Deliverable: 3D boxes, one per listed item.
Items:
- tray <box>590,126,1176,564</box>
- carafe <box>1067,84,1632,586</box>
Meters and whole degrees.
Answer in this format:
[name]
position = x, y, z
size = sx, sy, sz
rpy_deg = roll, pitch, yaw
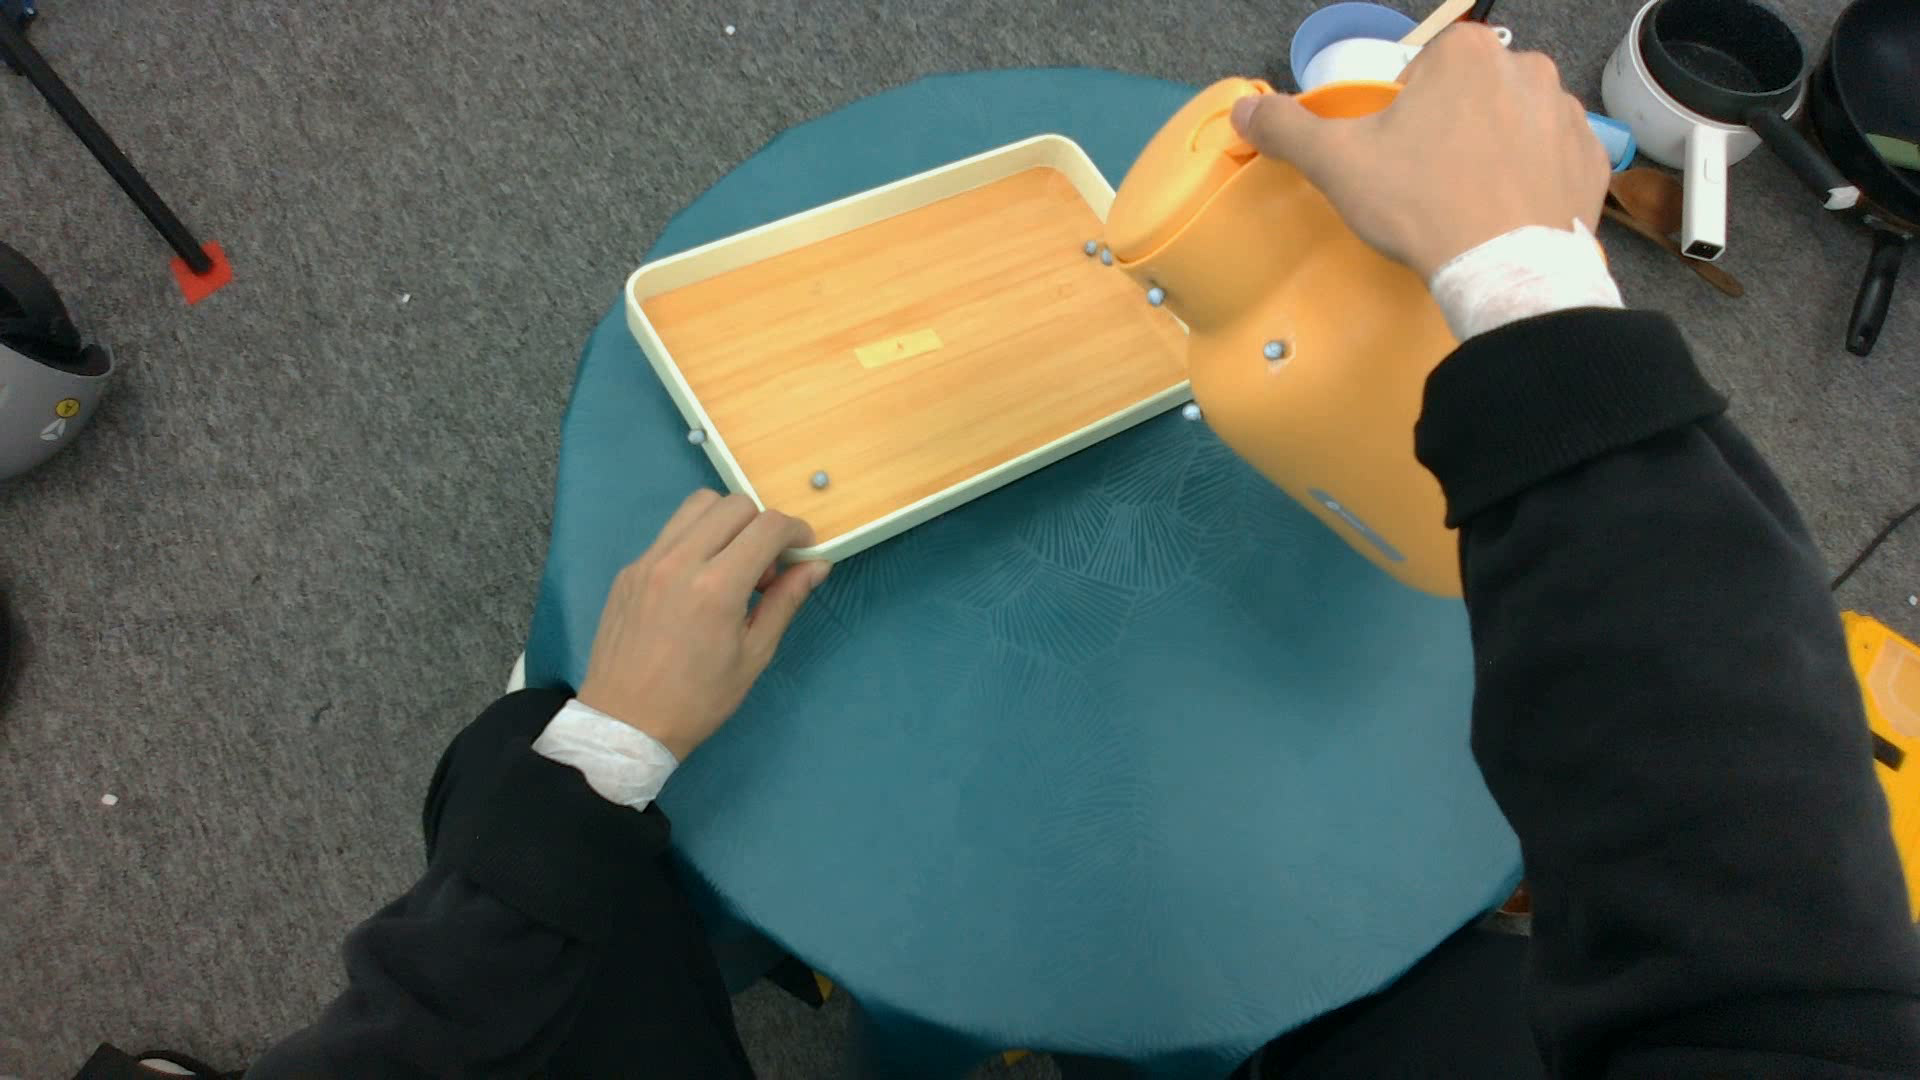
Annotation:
[tray]
position = -0.029, -0.120, 0.763
size = 0.301, 0.027, 0.192
rpy_deg = -25, 71, -26
[carafe]
position = 0.181, -0.101, 0.626
size = 0.260, 0.202, 0.164
rpy_deg = 32, 75, -19
